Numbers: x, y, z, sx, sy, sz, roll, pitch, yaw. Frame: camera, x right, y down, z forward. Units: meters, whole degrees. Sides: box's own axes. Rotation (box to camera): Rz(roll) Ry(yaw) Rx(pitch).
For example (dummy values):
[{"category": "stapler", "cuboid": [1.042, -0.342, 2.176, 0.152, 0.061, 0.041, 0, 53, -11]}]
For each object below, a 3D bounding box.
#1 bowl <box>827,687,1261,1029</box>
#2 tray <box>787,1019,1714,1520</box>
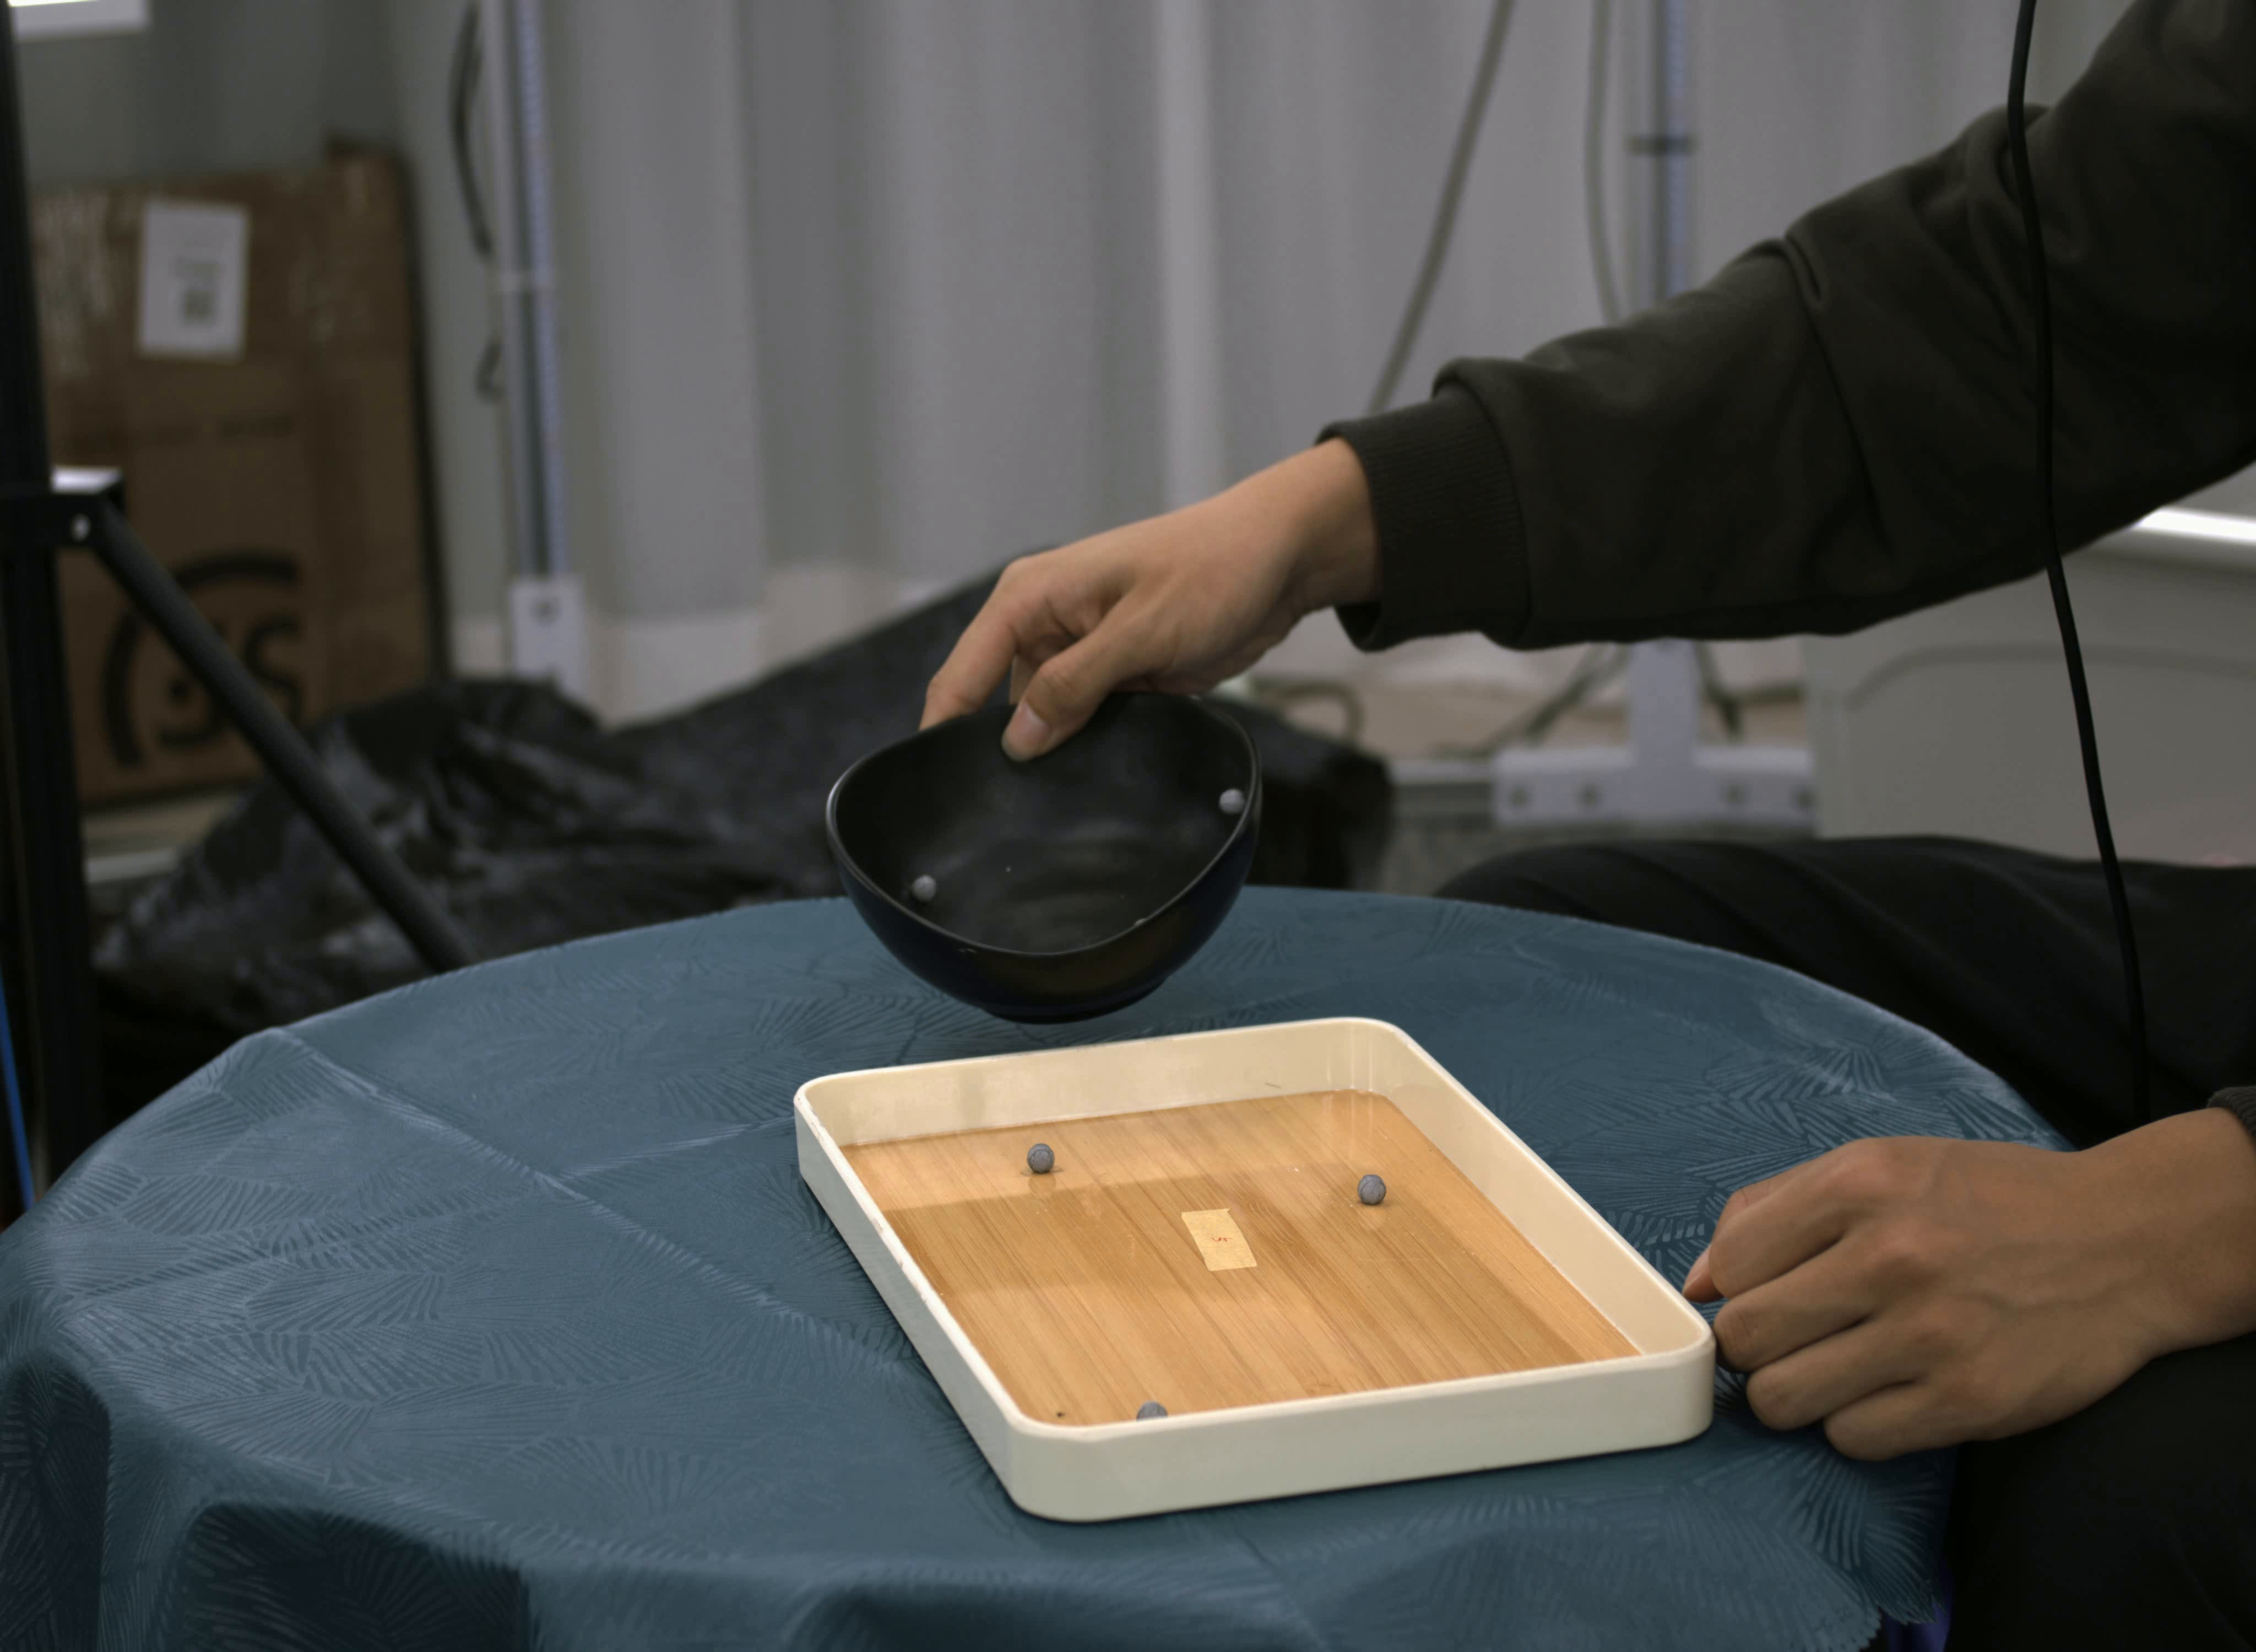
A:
[{"category": "bowl", "cuboid": [-0.021, 0.018, 1.670, 0.136, 0.066, 0.172, -13, 28, -2]}, {"category": "tray", "cuboid": [0.025, 0.117, 1.476, 0.189, 0.027, 0.304, -6, 16, -13]}]
